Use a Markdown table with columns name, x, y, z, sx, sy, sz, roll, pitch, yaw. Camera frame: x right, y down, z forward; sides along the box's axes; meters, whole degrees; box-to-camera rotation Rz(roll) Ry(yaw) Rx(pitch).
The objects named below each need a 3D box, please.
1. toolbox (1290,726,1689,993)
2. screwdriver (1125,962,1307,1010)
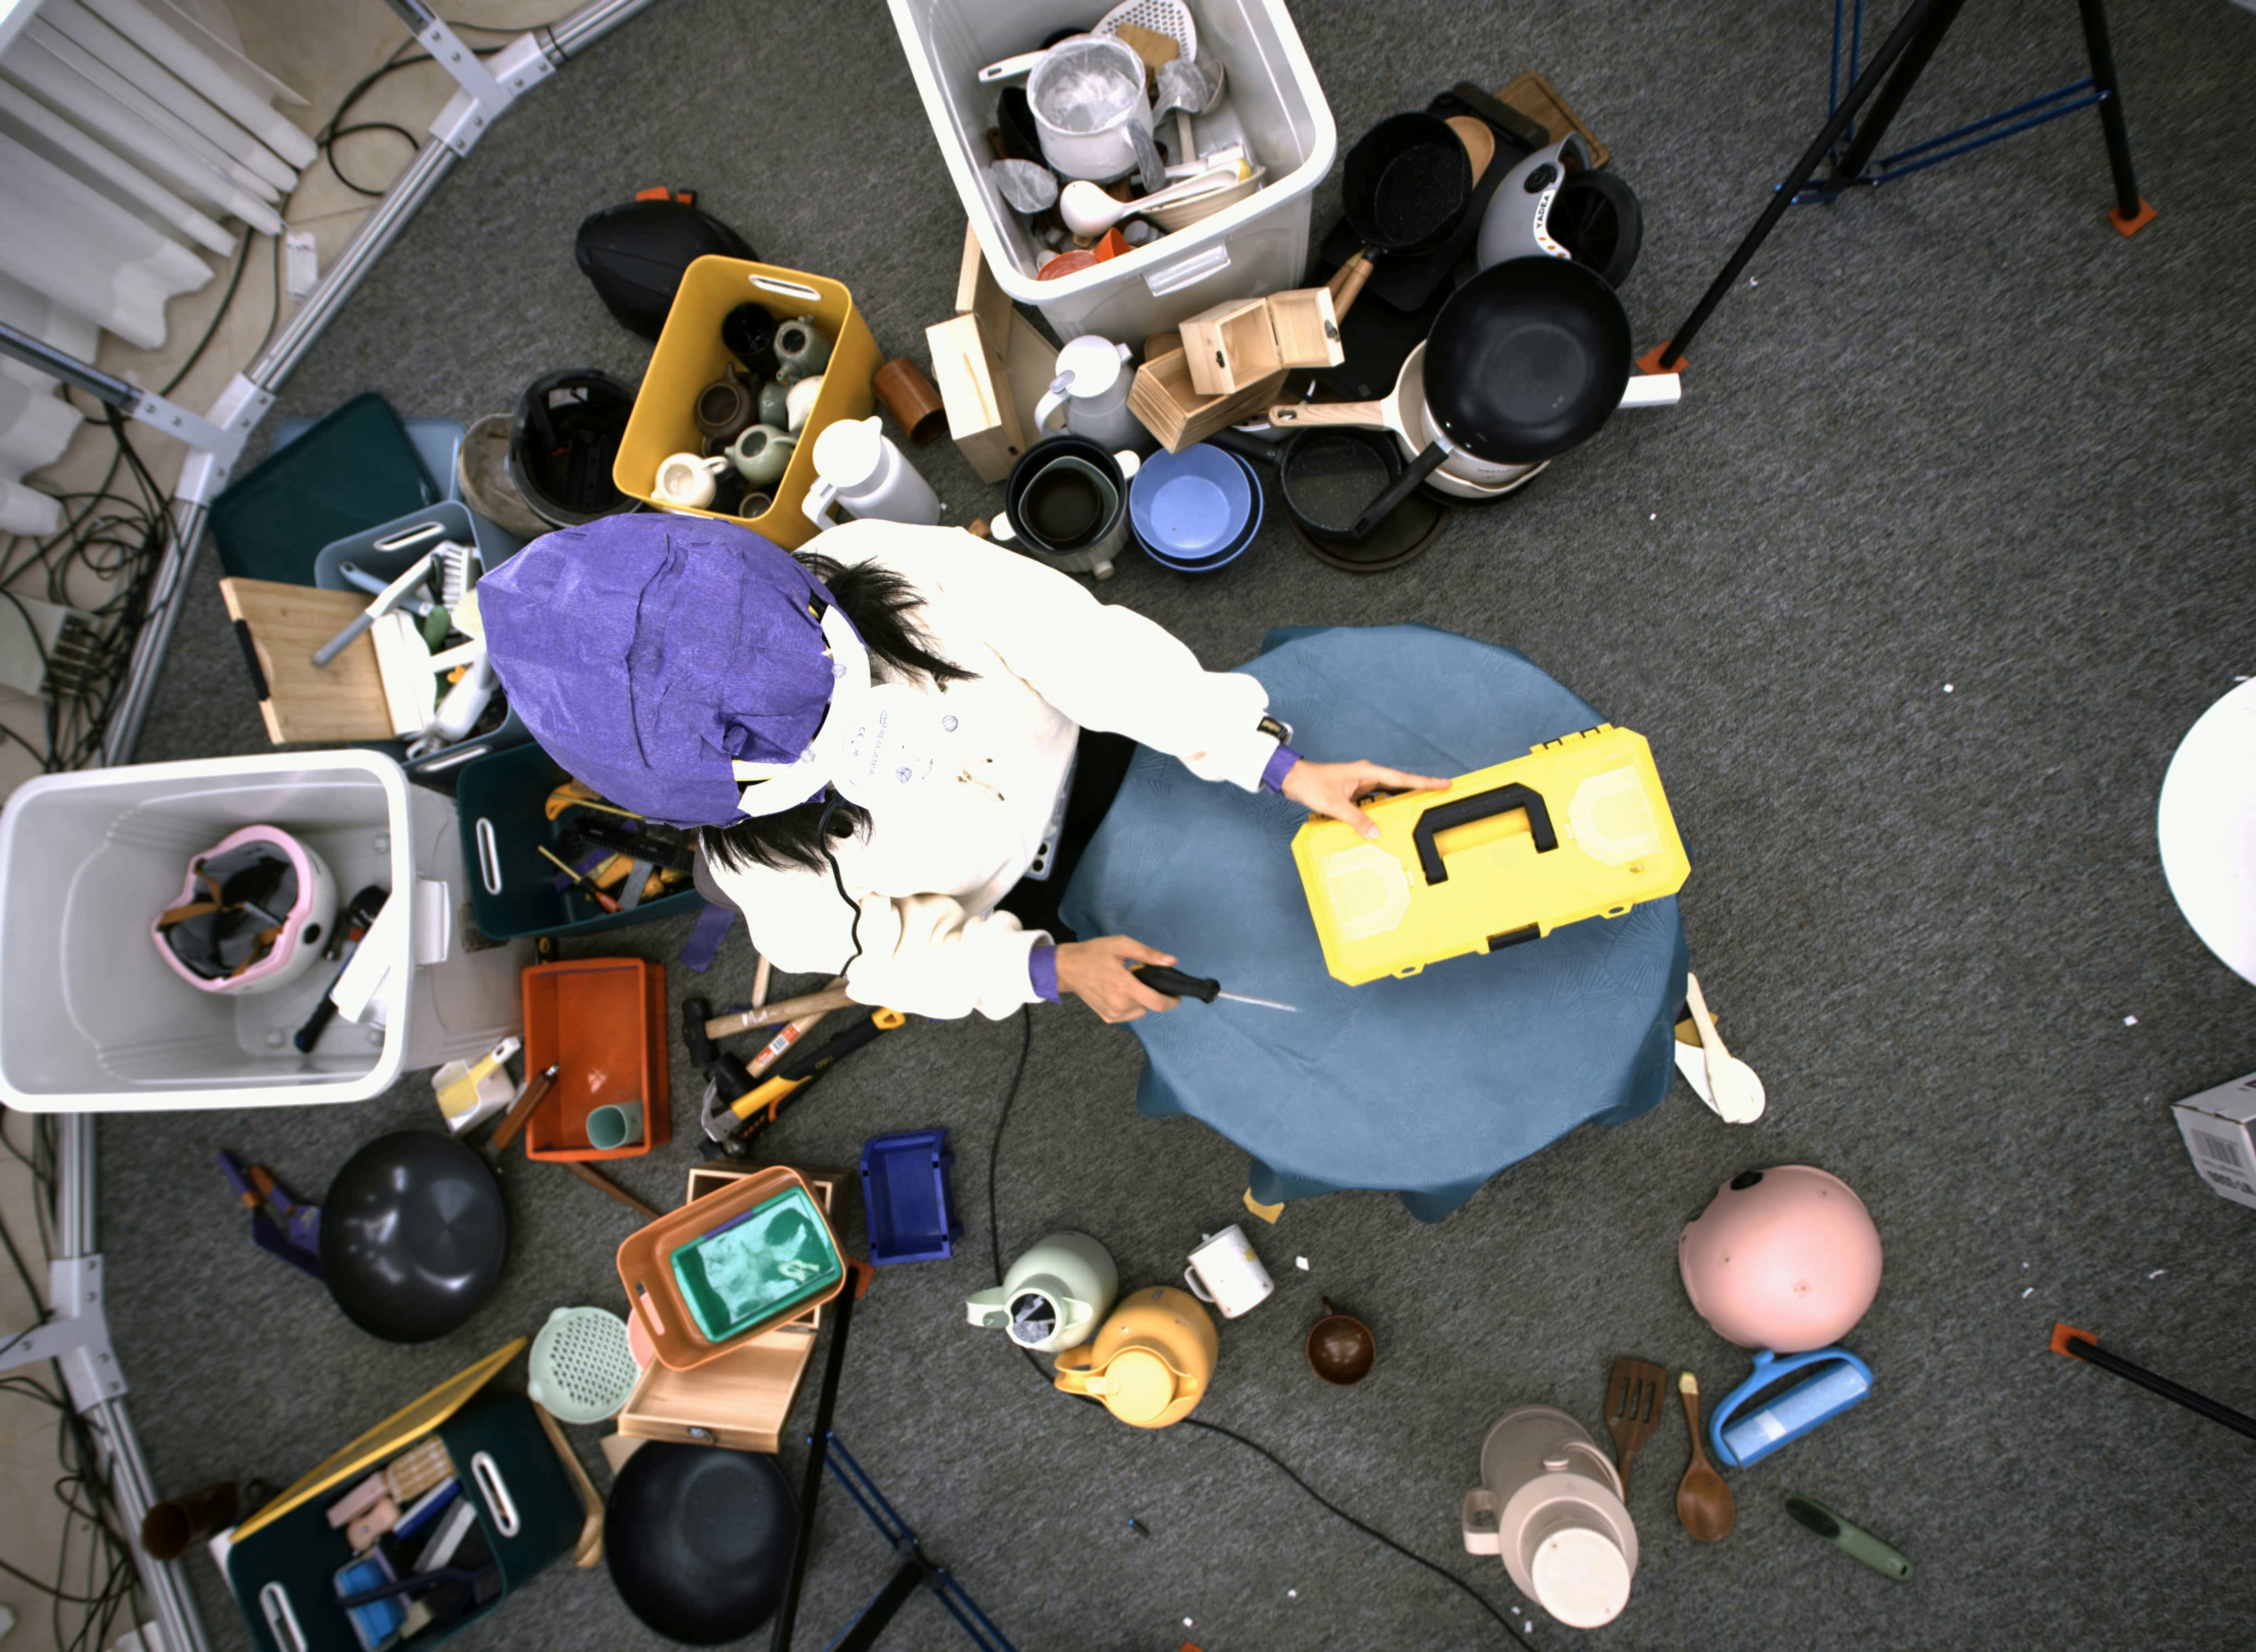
| name | x | y | z | sx | sy | sz | roll | pitch | yaw |
| --- | --- | --- | --- | --- | --- | --- | --- | --- | --- |
| toolbox | 0.349 | 0.035 | 1.359 | 0.353 | 0.173 | 0.180 | -17 | 83 | 9 |
| screwdriver | 0.083 | 0.155 | 1.317 | 0.198 | 0.031 | 0.031 | 7 | 86 | 32 |
